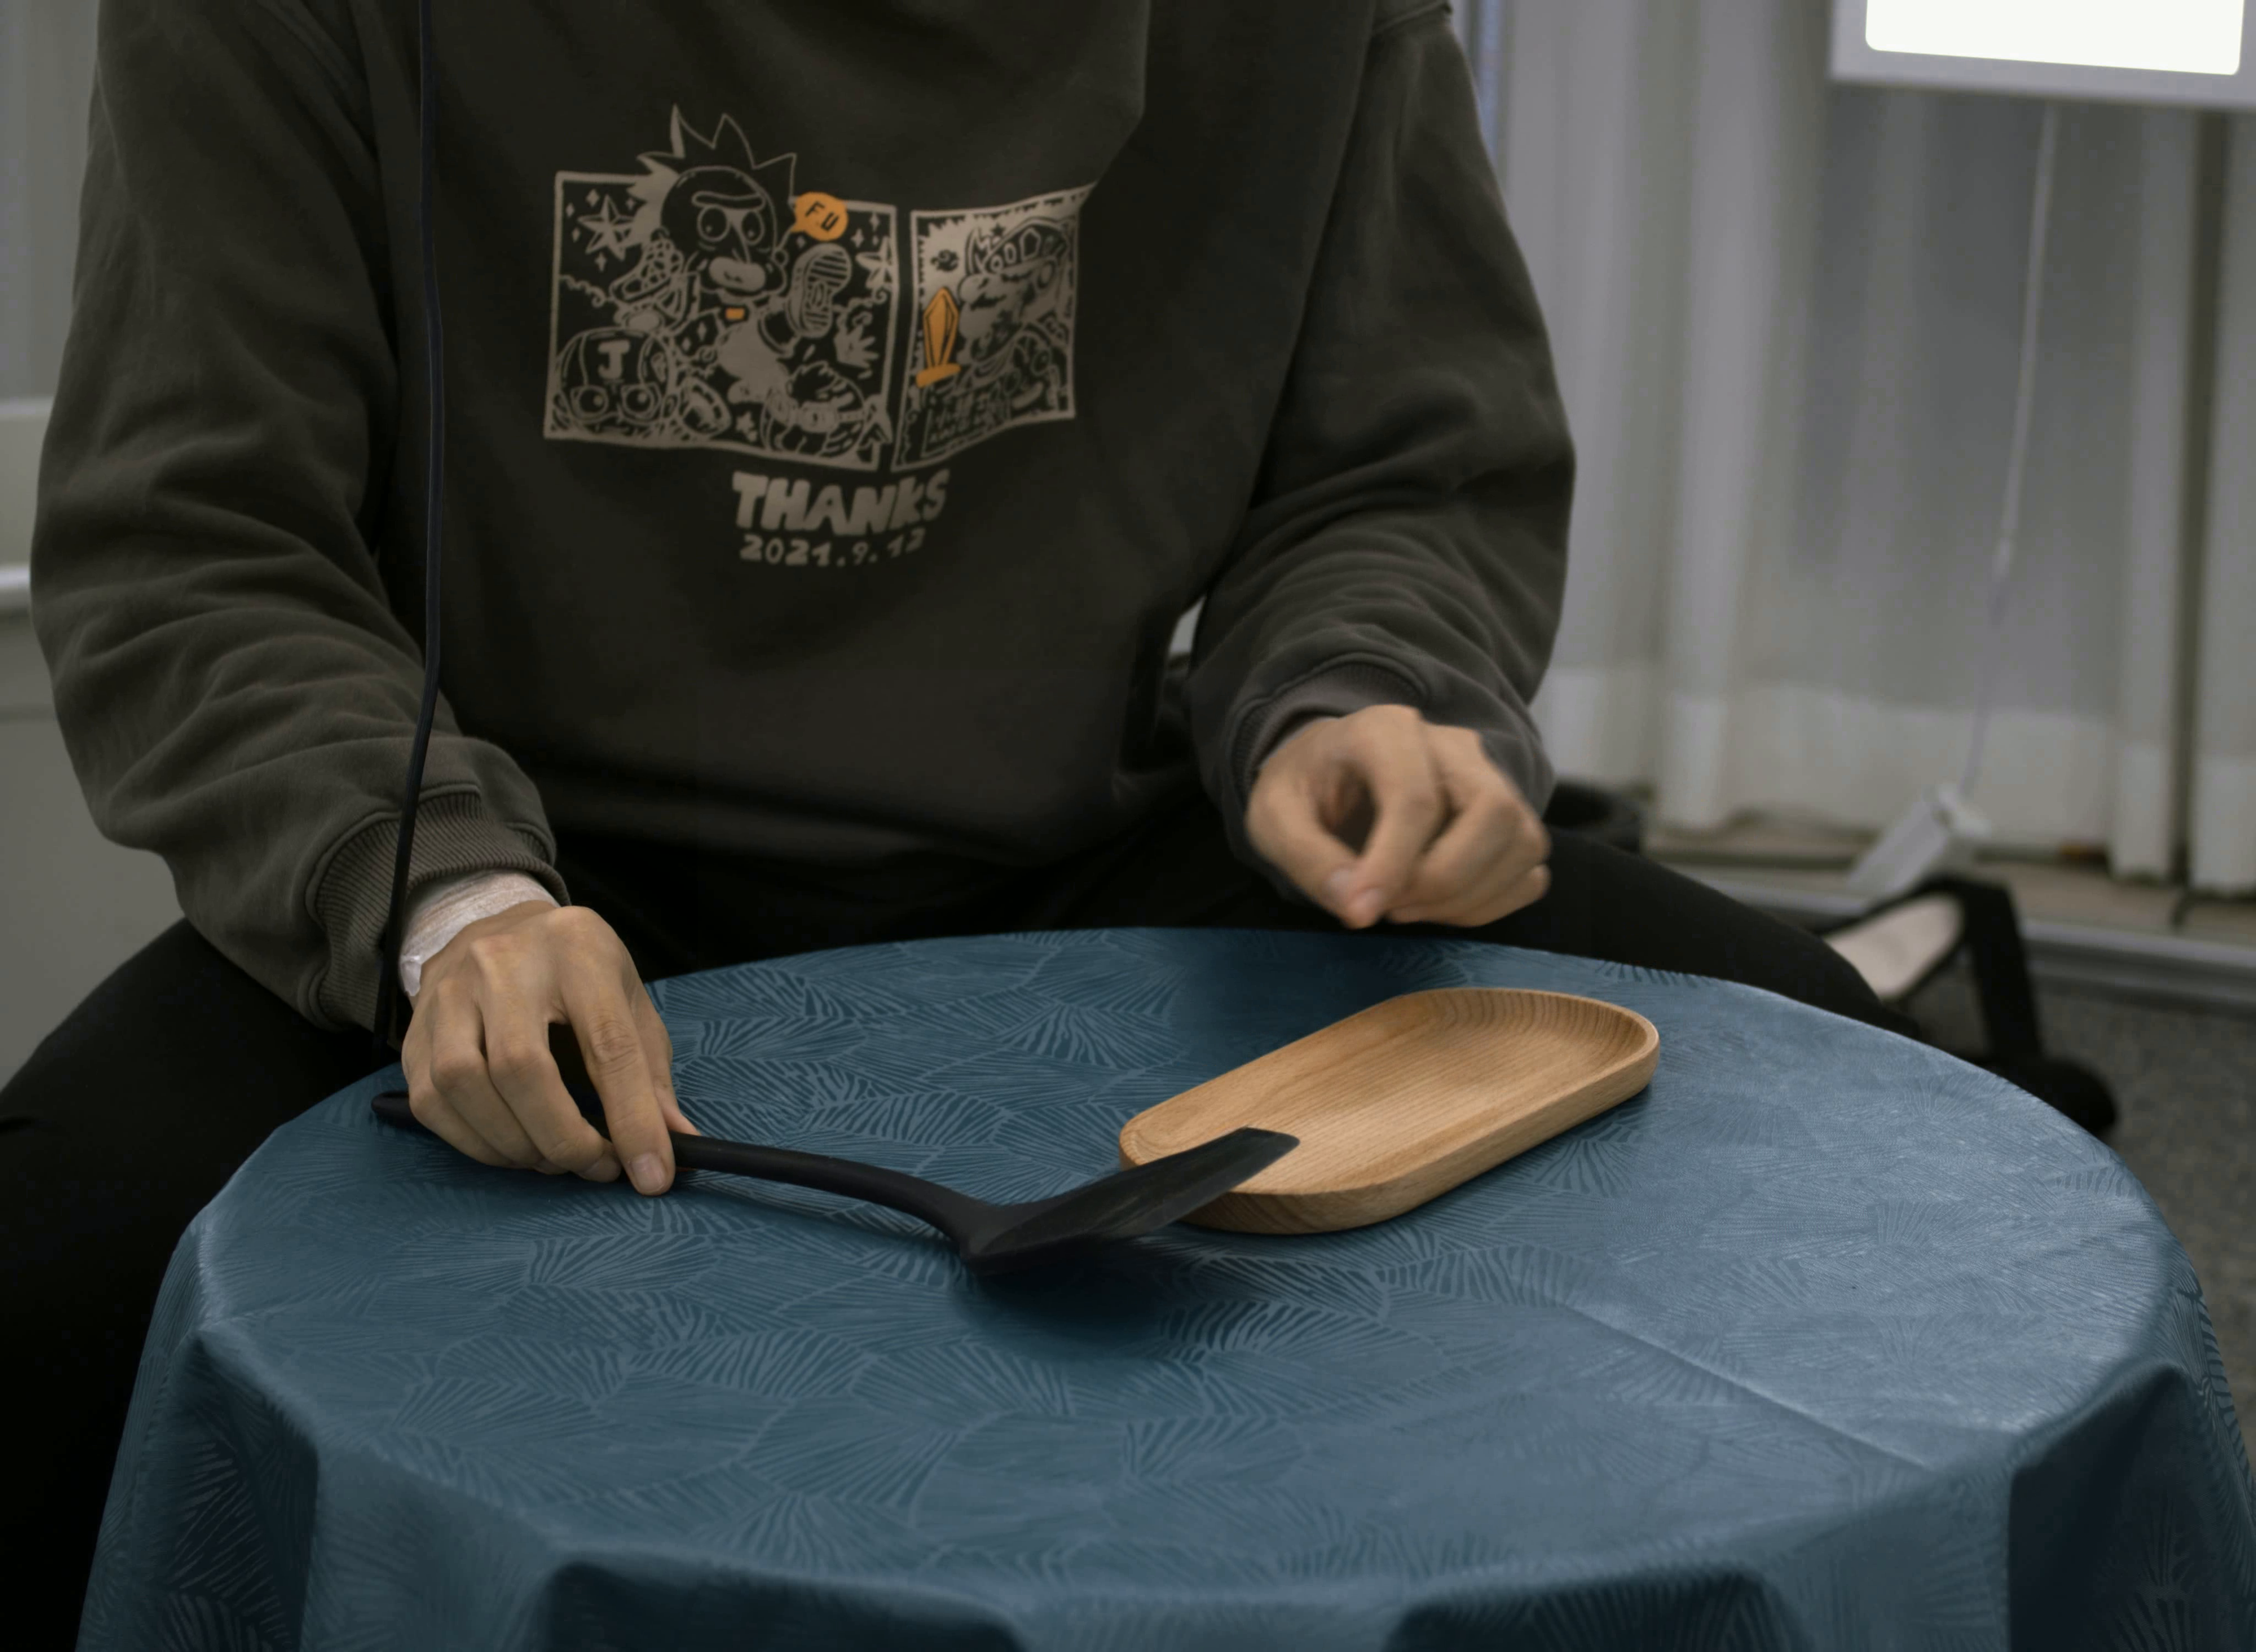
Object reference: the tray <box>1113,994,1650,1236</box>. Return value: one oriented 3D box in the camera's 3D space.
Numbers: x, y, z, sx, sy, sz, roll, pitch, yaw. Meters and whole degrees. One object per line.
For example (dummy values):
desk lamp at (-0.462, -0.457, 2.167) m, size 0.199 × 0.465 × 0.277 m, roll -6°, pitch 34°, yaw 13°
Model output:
tray at (0.083, 0.091, 1.683) m, size 0.100 × 0.020 × 0.232 m, roll 10°, pitch 19°, yaw 34°

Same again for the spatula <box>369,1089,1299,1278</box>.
spatula at (-0.105, 0.098, 1.608) m, size 0.322 × 0.040 × 0.100 m, roll 10°, pitch 18°, yaw 30°
